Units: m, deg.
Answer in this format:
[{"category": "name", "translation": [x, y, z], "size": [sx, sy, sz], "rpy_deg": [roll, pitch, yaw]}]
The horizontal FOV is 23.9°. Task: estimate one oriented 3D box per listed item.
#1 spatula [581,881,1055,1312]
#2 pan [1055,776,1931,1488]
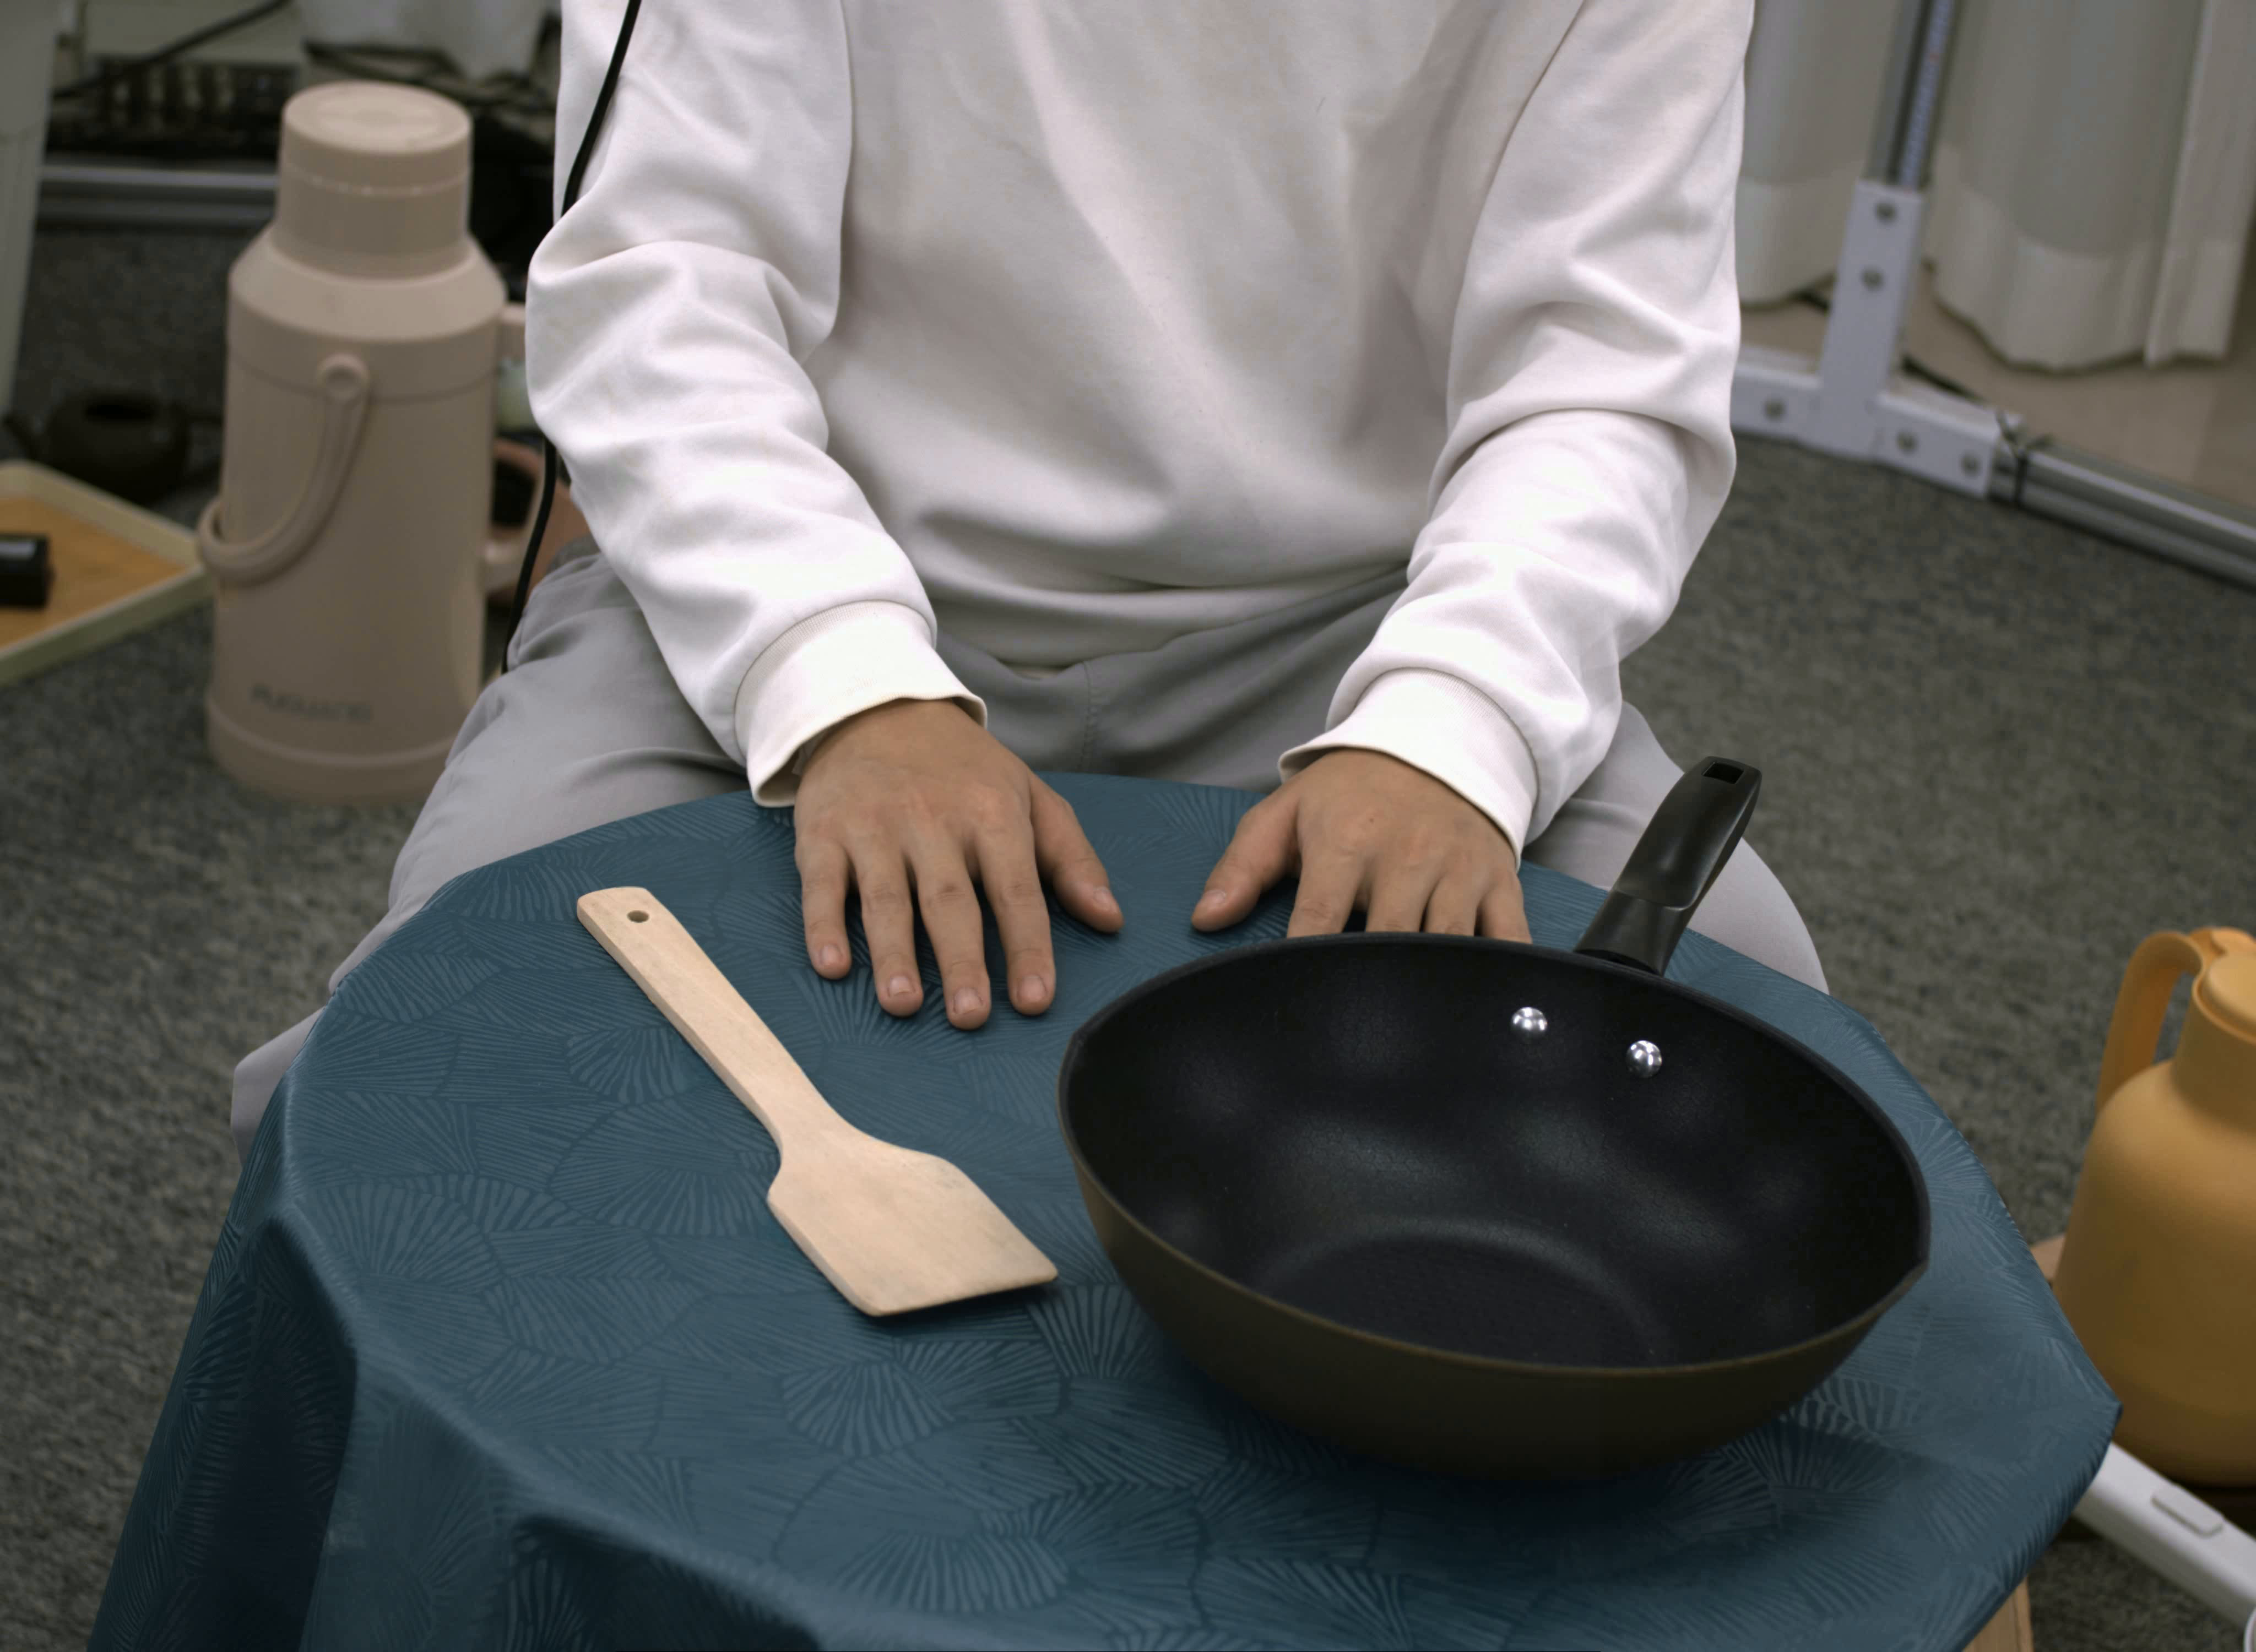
[{"category": "spatula", "translation": [-0.122, 0.089, 1.837], "size": [0.072, 0.010, 0.296], "rpy_deg": [-10, 31, -27]}, {"category": "pan", "translation": [0.143, 0.100, 1.797], "size": [0.288, 0.086, 0.463], "rpy_deg": [15, 27, 15]}]
